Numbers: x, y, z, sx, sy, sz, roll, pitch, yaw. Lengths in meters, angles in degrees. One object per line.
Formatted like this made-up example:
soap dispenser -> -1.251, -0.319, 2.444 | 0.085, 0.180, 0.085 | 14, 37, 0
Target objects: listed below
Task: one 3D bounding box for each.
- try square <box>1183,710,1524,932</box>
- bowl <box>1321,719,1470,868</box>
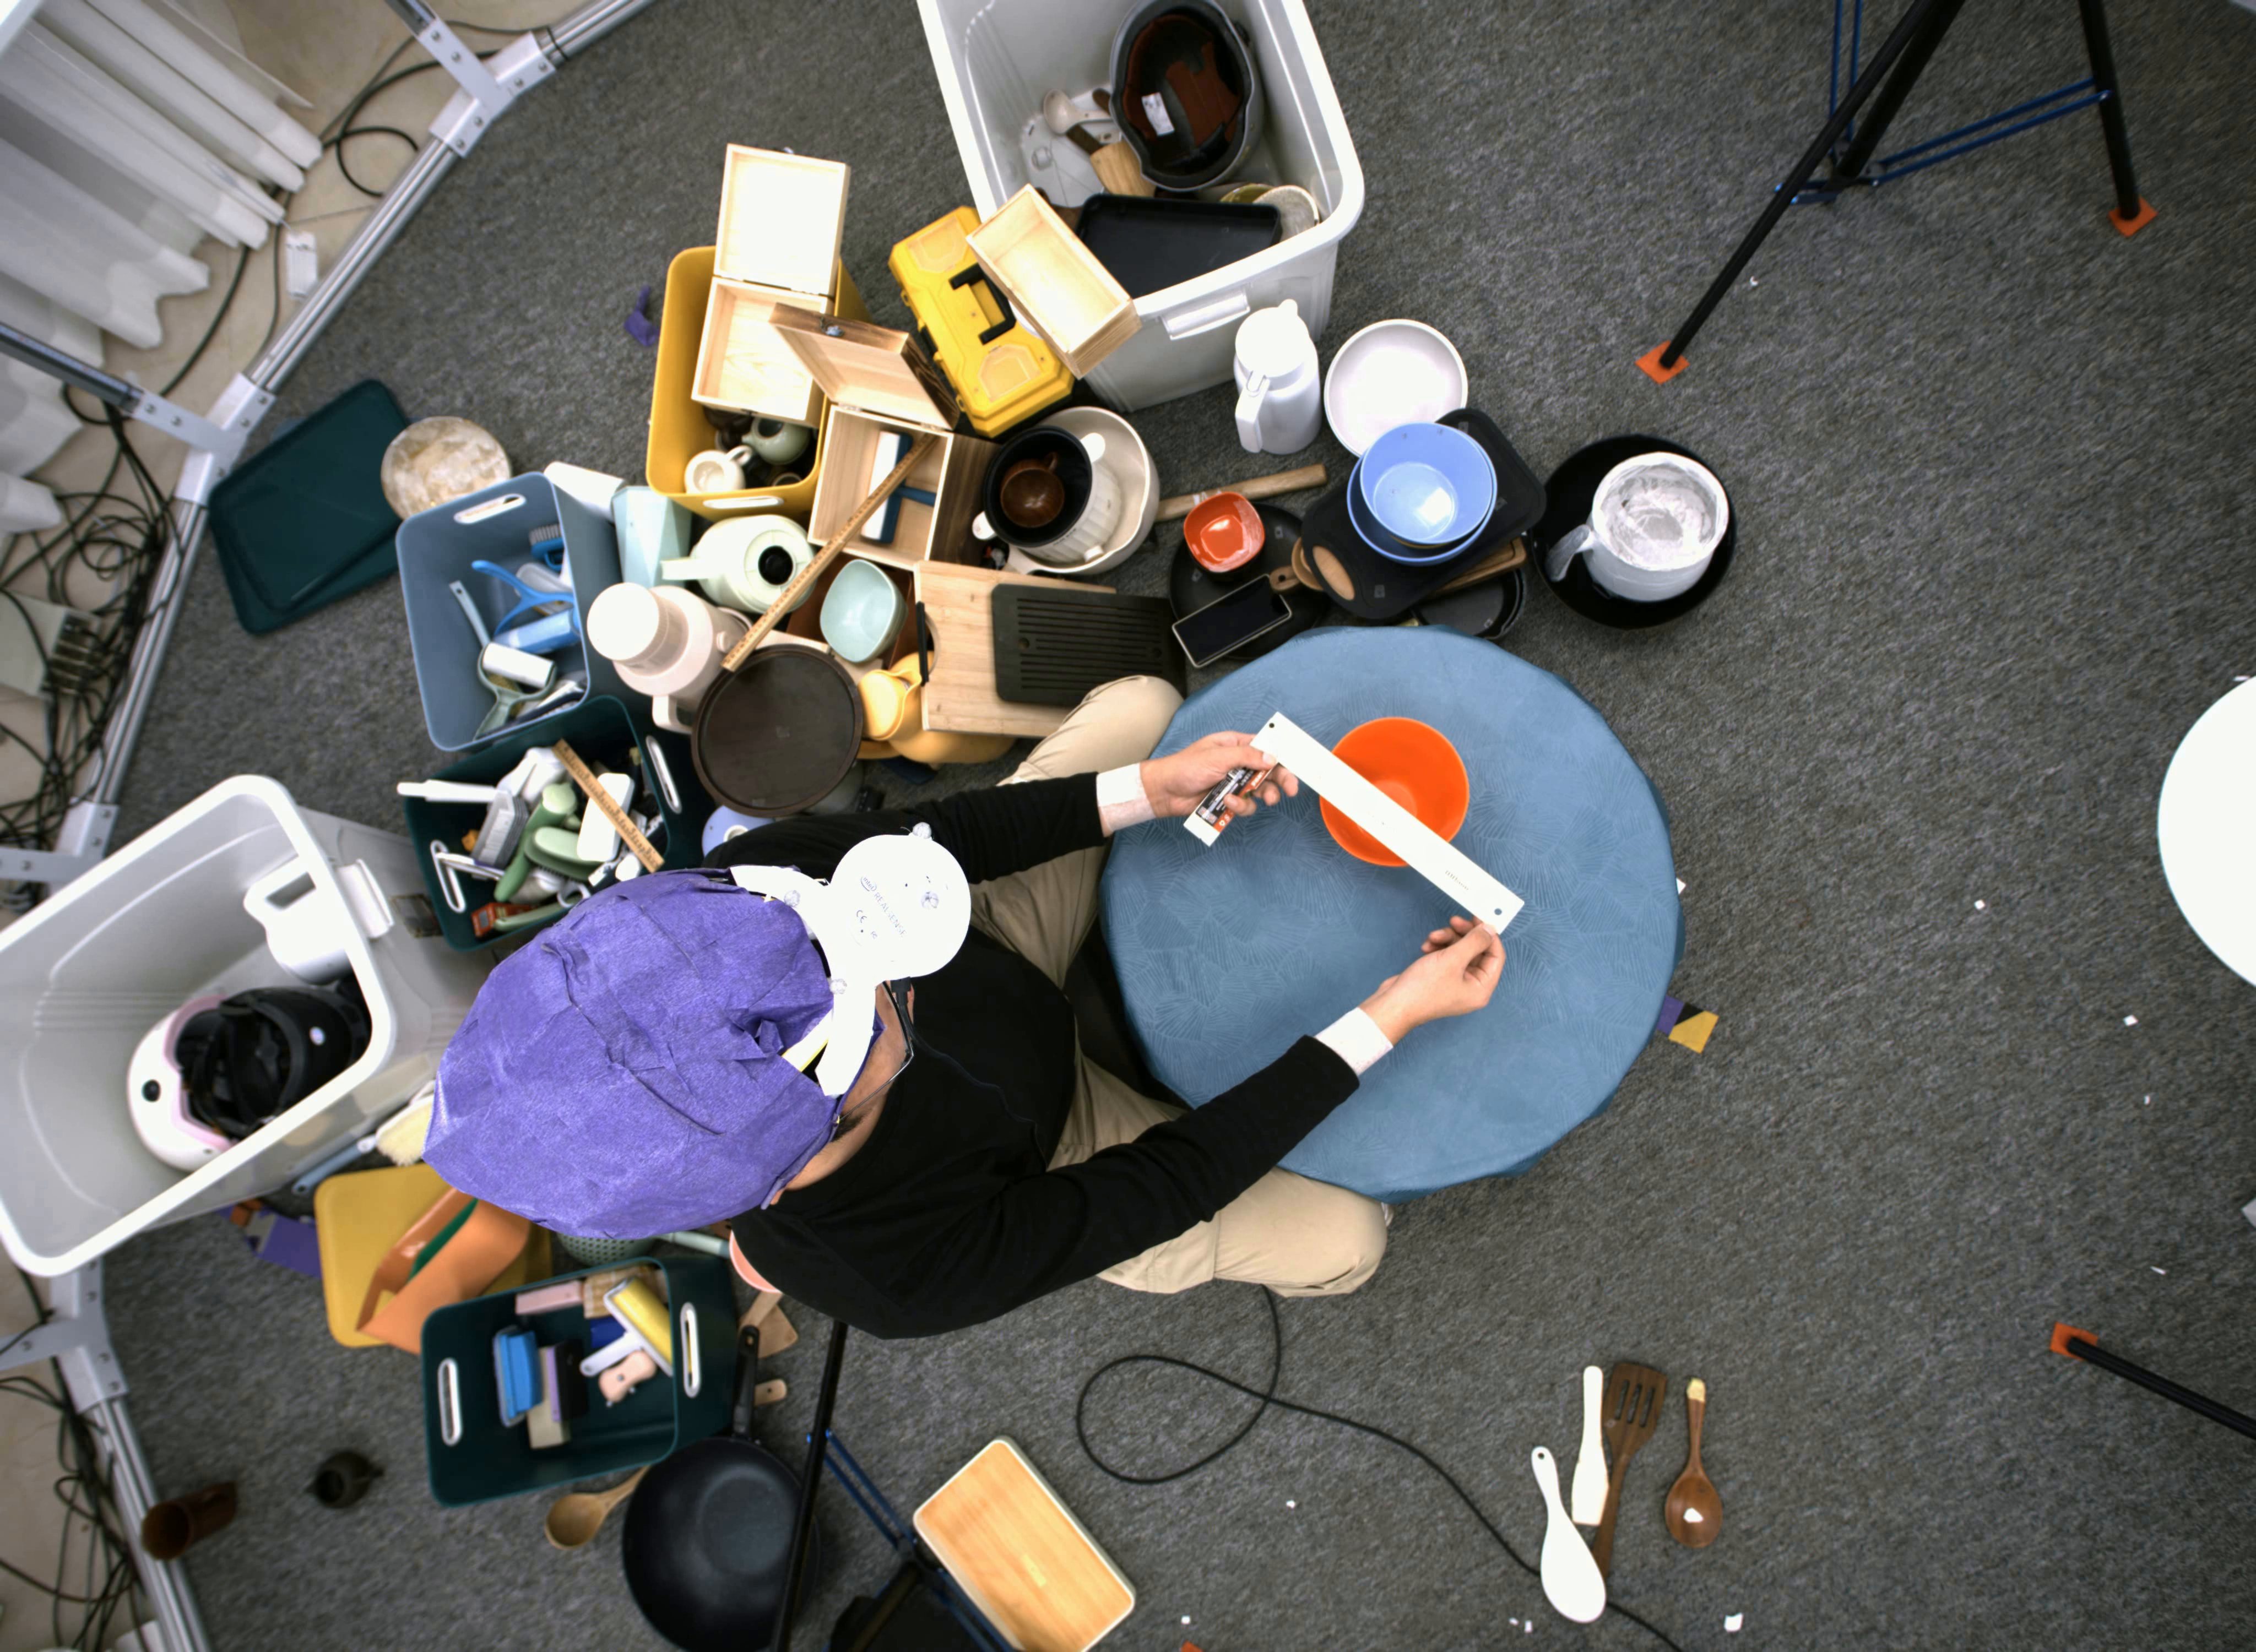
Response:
try square -> 0.221, 0.033, 1.370 | 0.312, 0.016, 0.152 | 39, 90, 9
bowl -> 0.272, -0.030, 1.414 | 0.148, 0.104, 0.147 | -1, 87, 10
